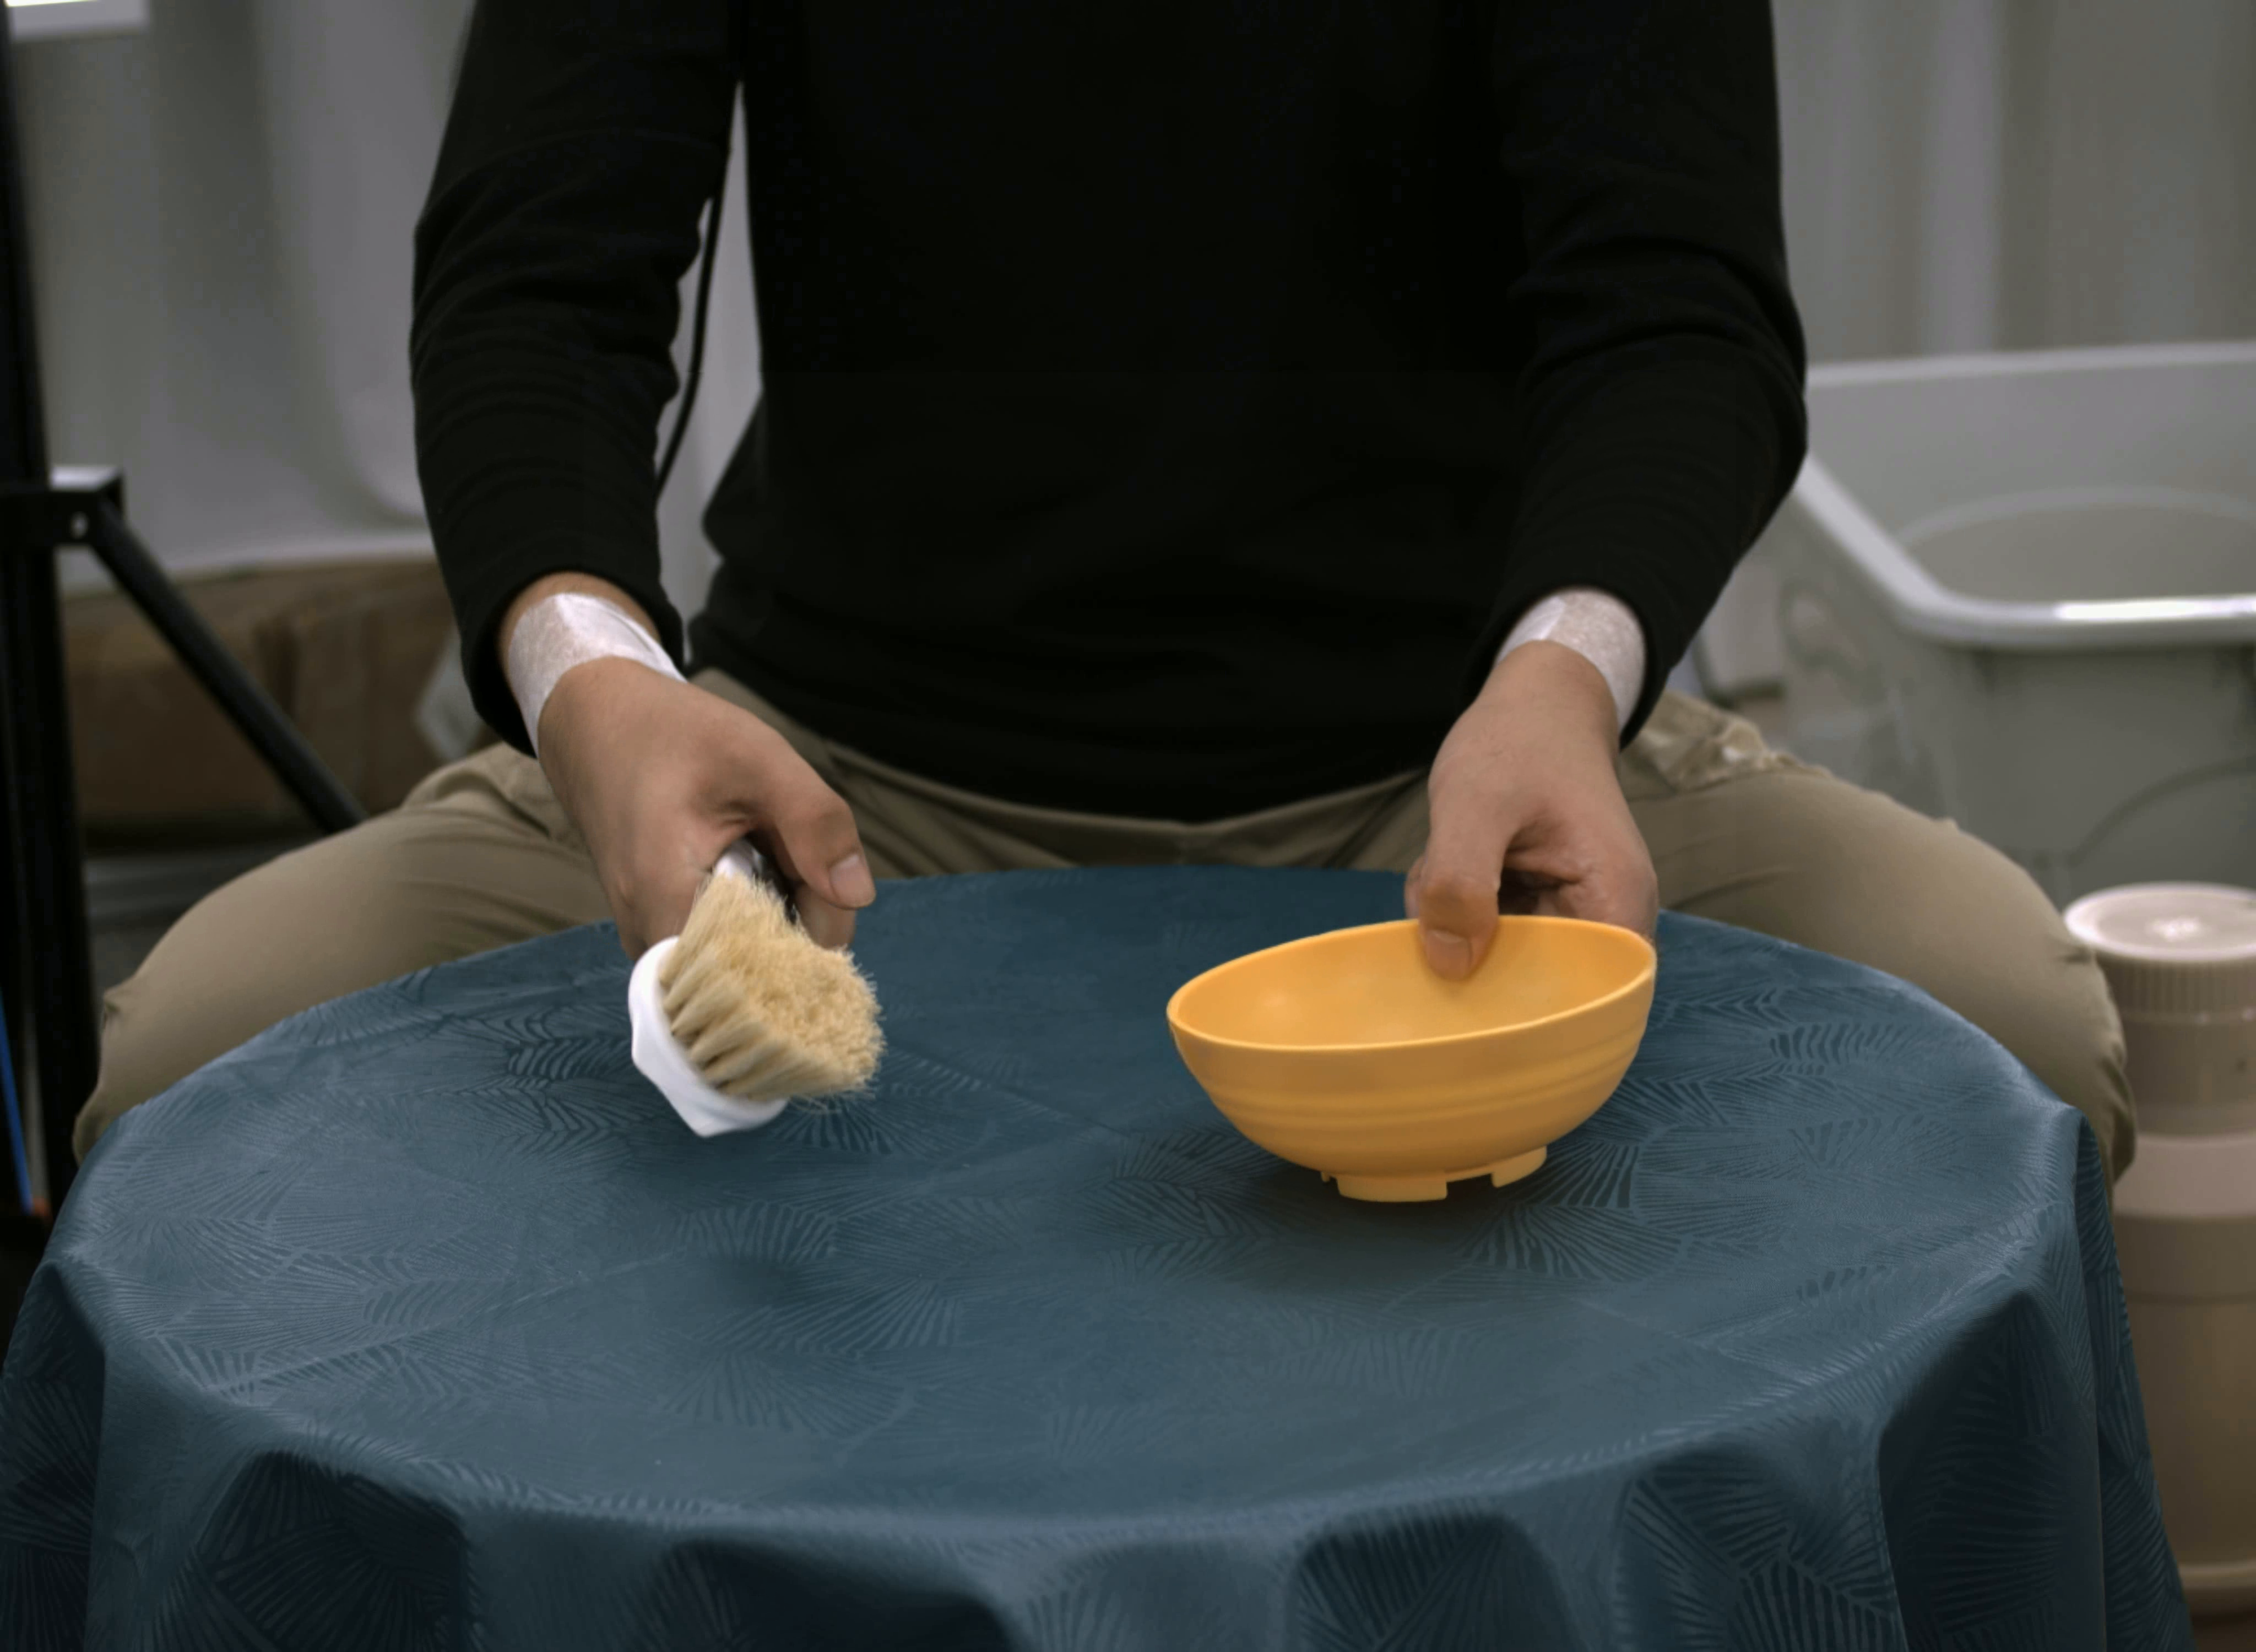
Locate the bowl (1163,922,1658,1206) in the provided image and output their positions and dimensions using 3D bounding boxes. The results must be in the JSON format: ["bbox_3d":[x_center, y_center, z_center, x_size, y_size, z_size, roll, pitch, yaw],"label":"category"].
[{"bbox_3d":[0.085,0.073,1.548,0.144,0.060,0.146,-6,12,0],"label":"bowl"}]

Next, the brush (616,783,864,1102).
[{"bbox_3d":[-0.110,0.017,1.595,0.056,0.068,0.267,-34,12,10],"label":"brush"}]
